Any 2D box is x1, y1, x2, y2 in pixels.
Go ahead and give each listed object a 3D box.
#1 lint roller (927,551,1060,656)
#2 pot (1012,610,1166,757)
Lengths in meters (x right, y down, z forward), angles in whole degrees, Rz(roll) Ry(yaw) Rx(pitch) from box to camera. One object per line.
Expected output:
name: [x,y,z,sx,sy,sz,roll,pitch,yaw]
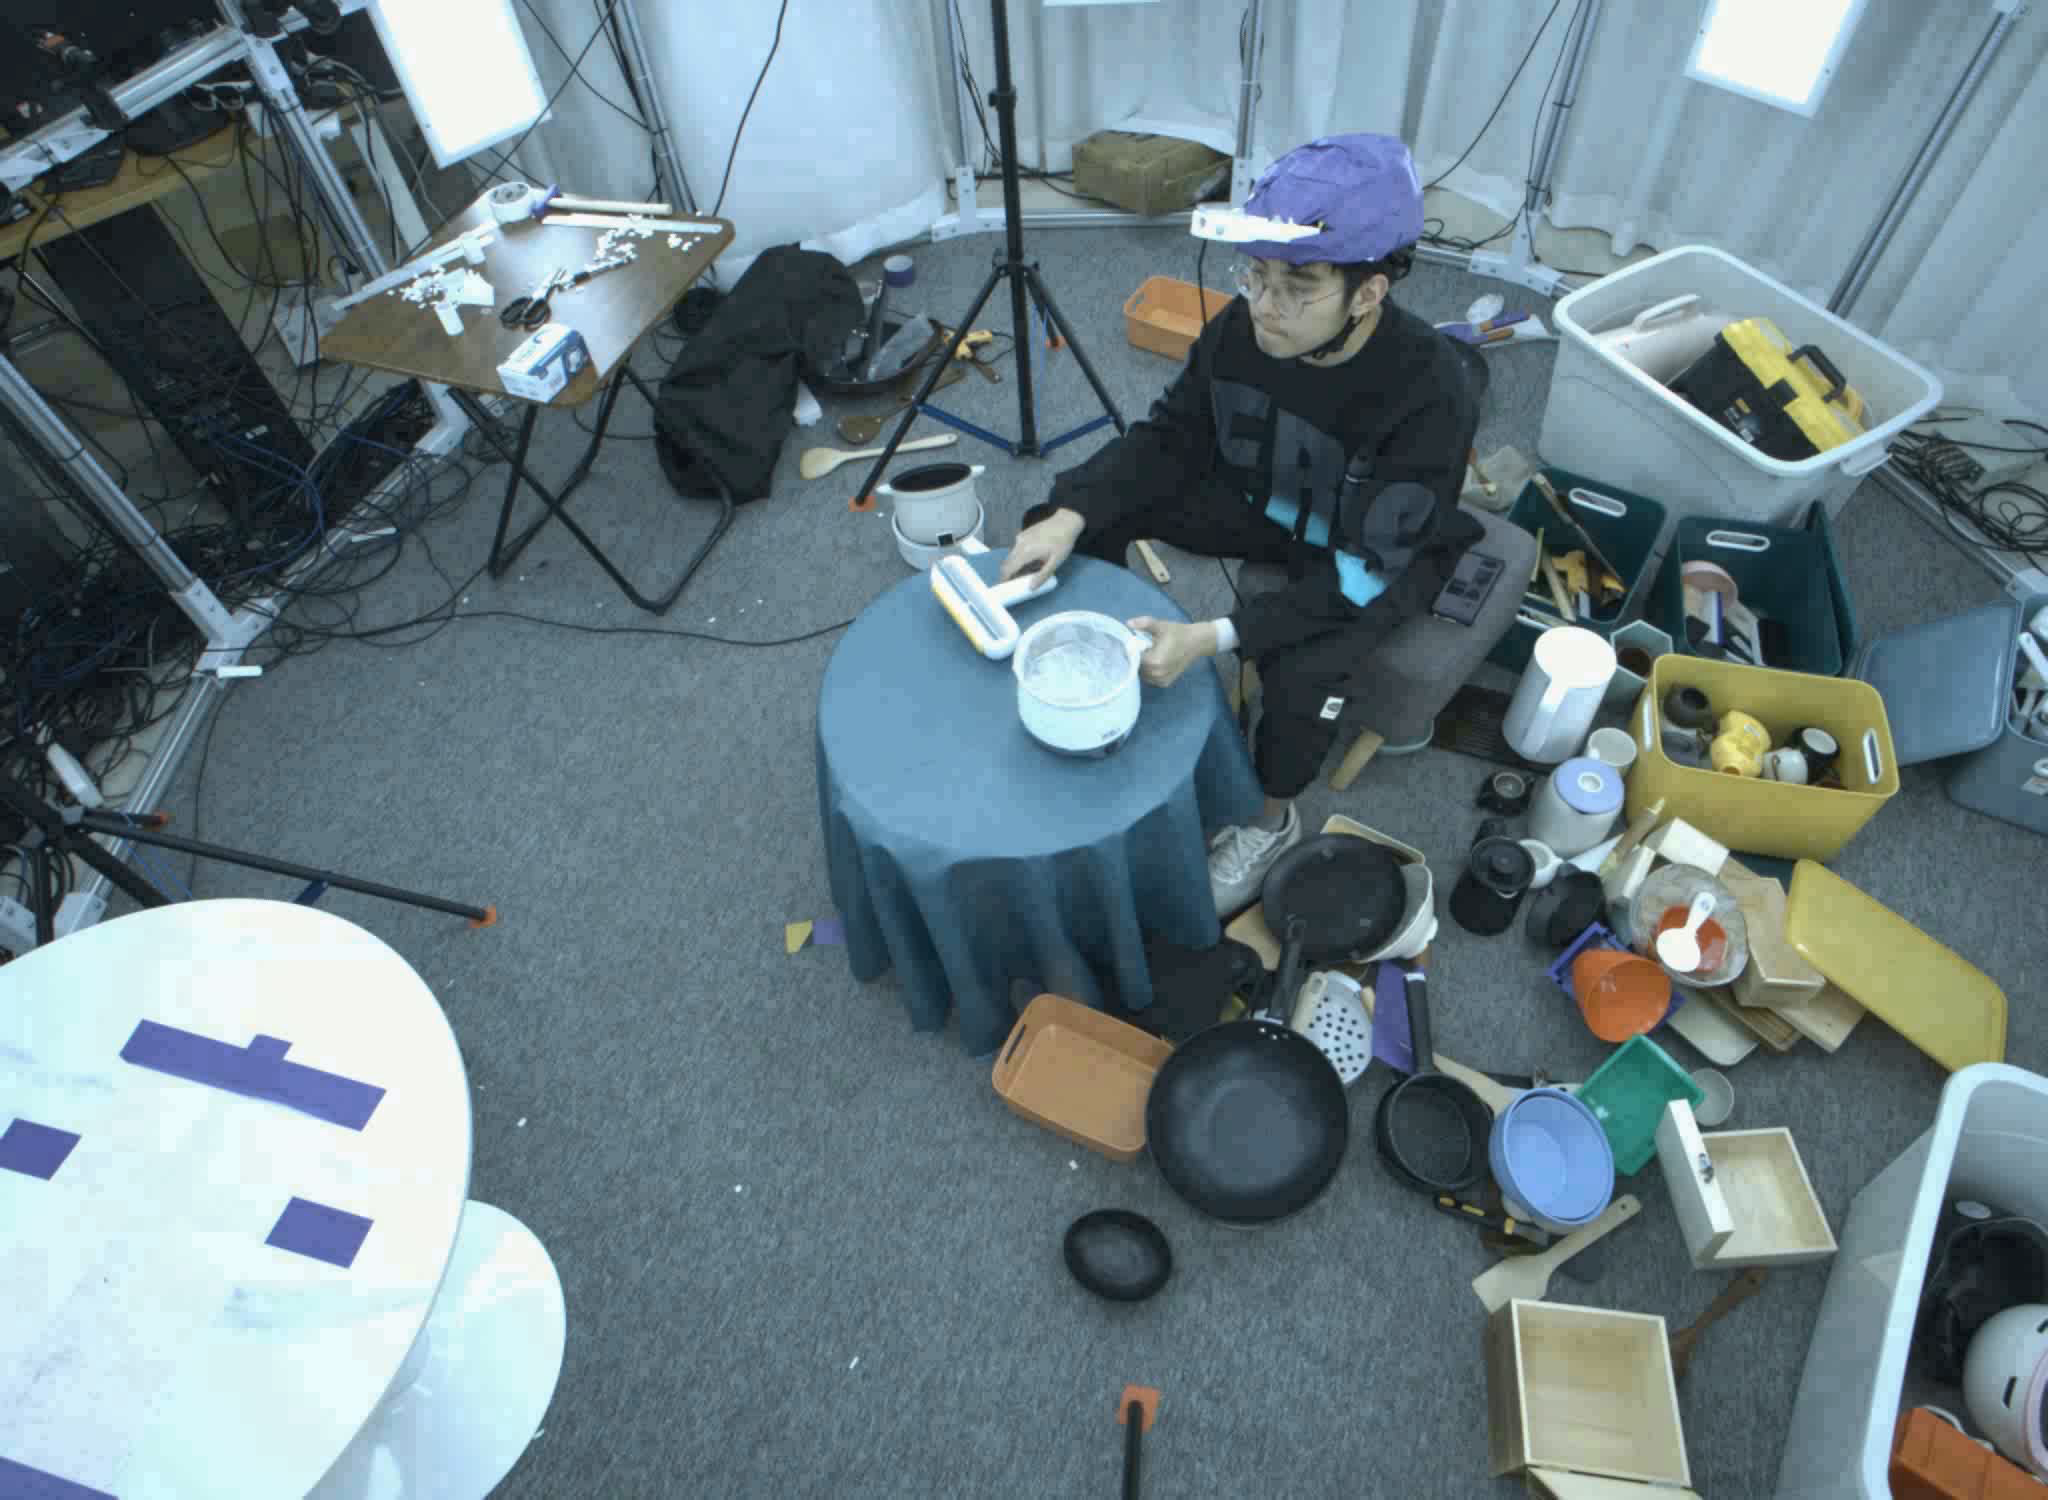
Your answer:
lint roller: [-0.030,-0.247,1.918,0.194,0.075,0.189,-26,63,-18]
pot: [0.100,-0.105,1.767,0.235,0.138,0.175,-28,60,-15]
